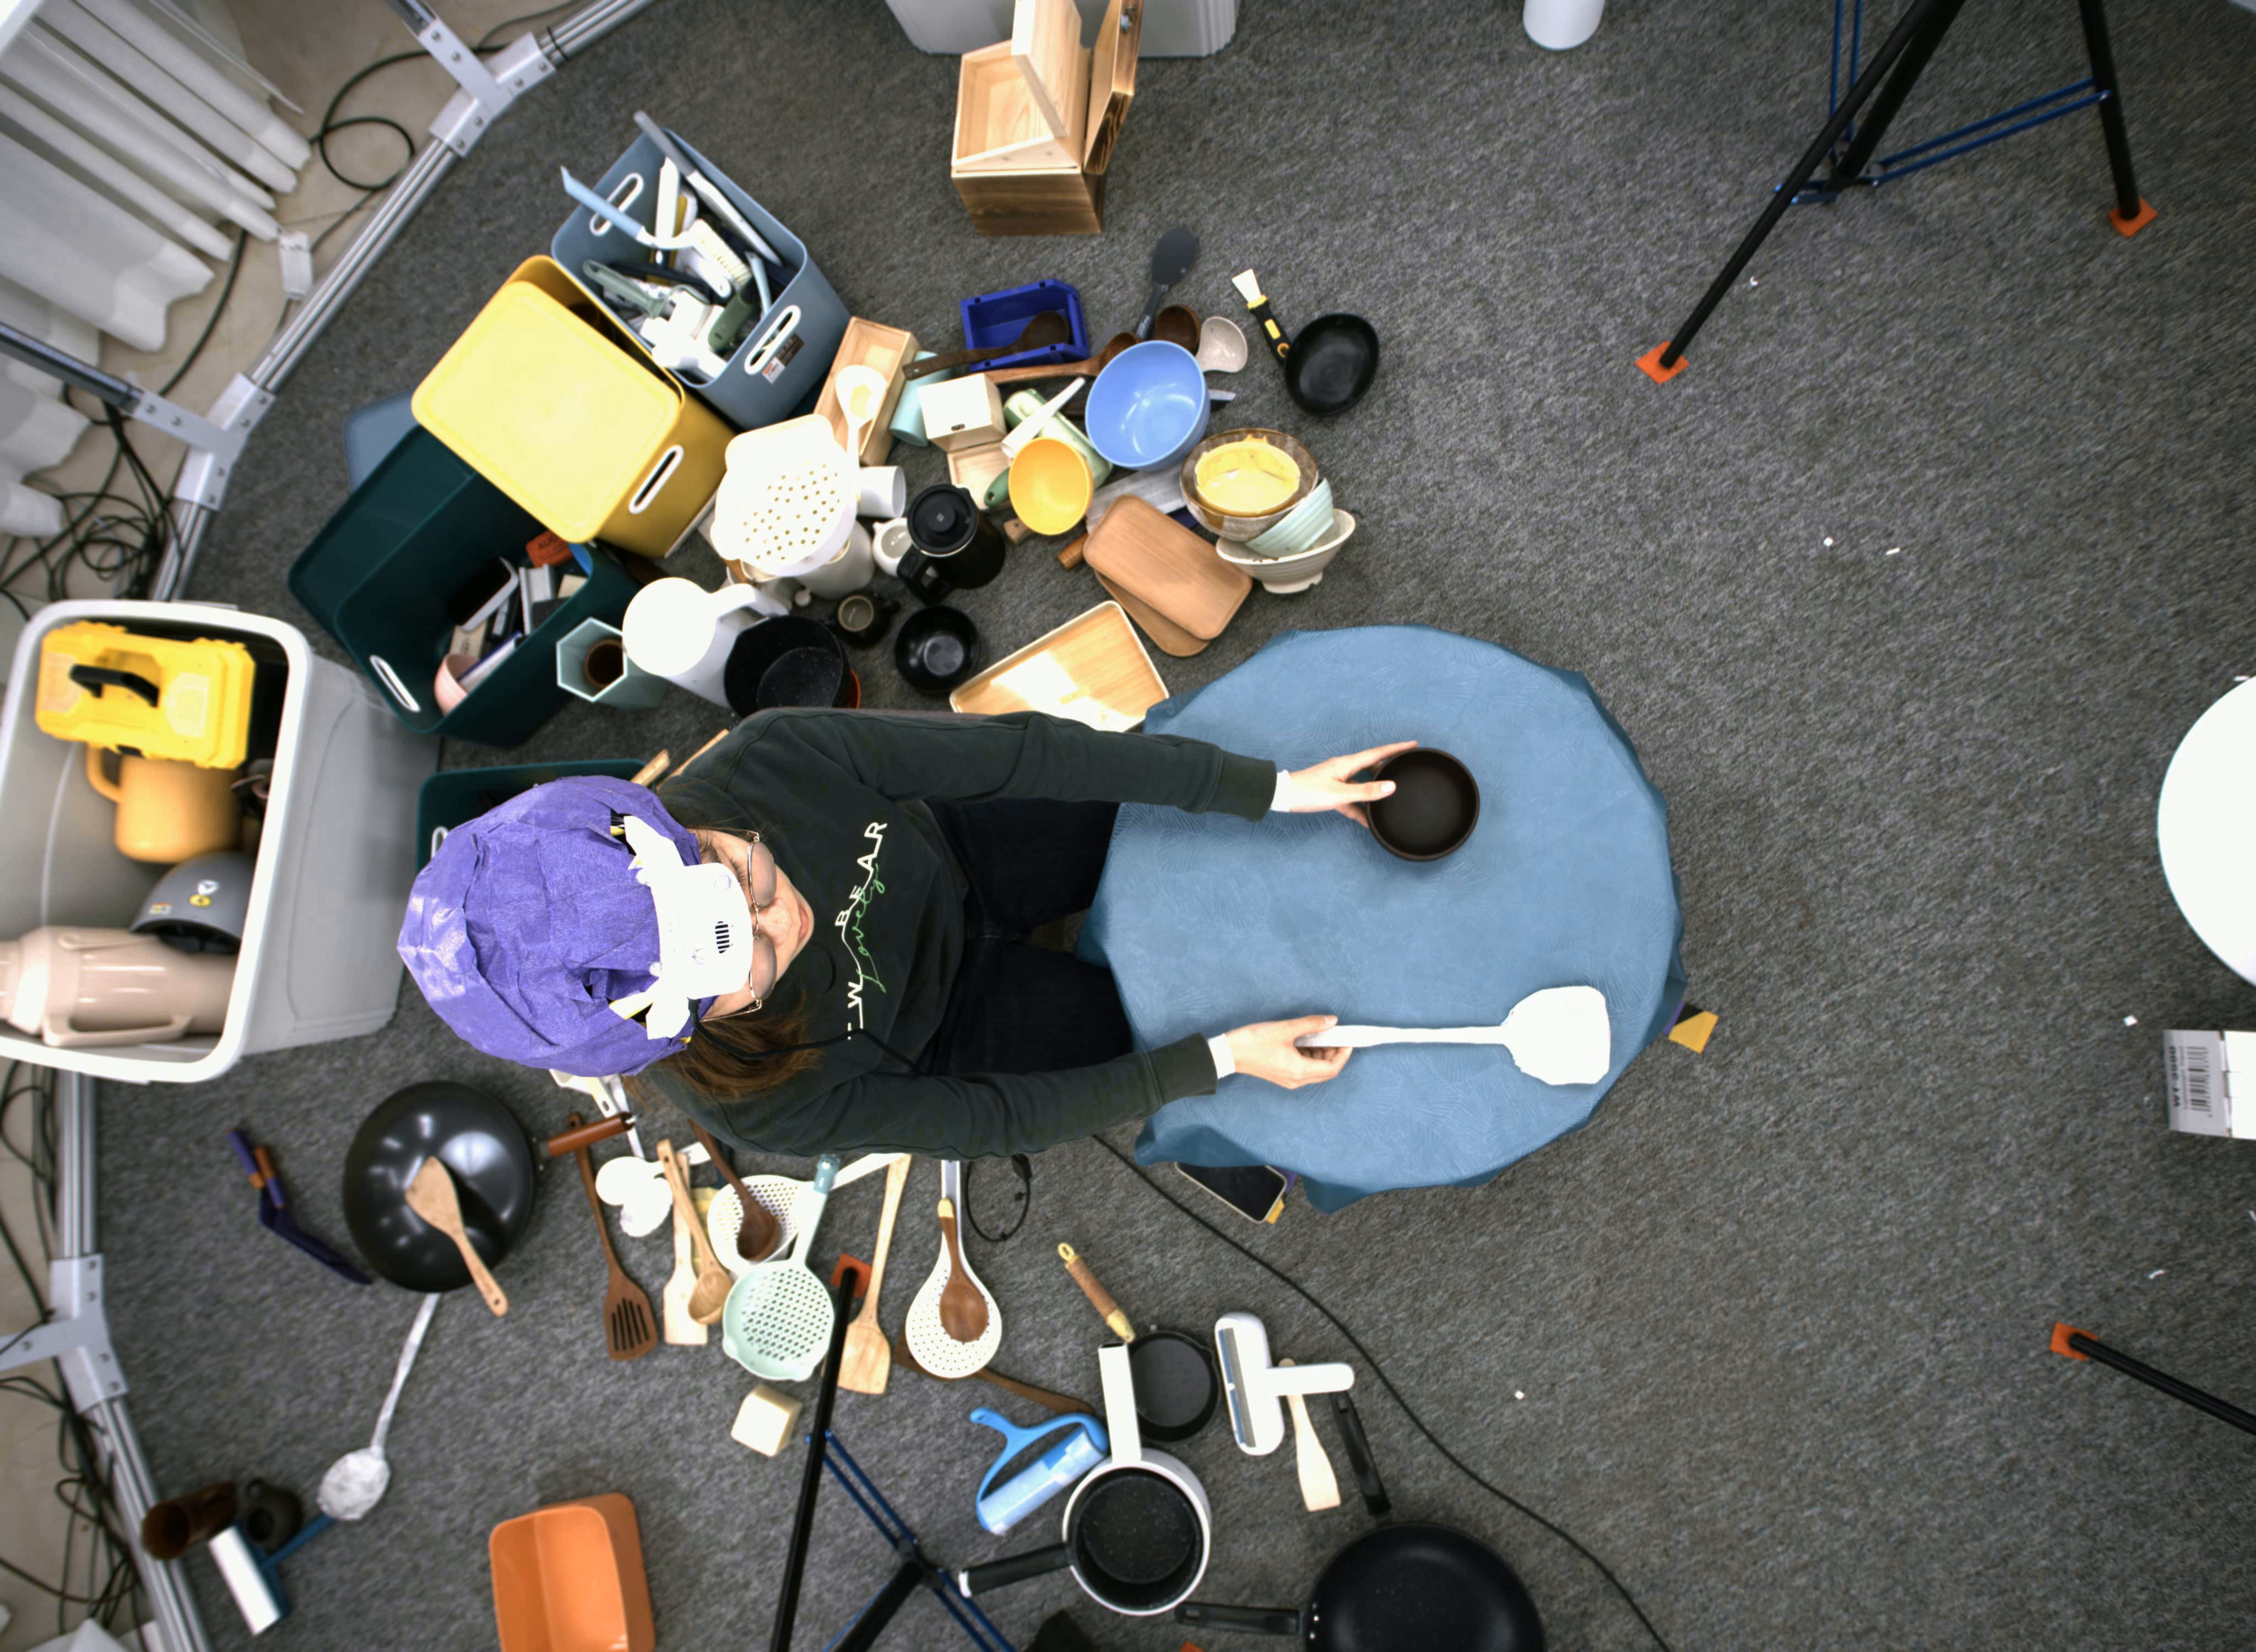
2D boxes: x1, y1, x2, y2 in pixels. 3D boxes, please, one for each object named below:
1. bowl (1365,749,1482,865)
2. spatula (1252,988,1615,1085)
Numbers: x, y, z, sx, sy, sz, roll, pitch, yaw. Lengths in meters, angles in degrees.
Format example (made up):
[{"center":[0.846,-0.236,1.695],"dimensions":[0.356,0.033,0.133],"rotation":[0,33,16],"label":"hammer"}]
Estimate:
[{"center":[0.306,-0.018,1.428],"dimensions":[0.118,0.070,0.117],"rotation":[-1,83,11],"label":"bowl"},{"center":[0.310,0.212,1.422],"dimensions":[0.366,0.045,0.098],"rotation":[0,85,6],"label":"spatula"}]
